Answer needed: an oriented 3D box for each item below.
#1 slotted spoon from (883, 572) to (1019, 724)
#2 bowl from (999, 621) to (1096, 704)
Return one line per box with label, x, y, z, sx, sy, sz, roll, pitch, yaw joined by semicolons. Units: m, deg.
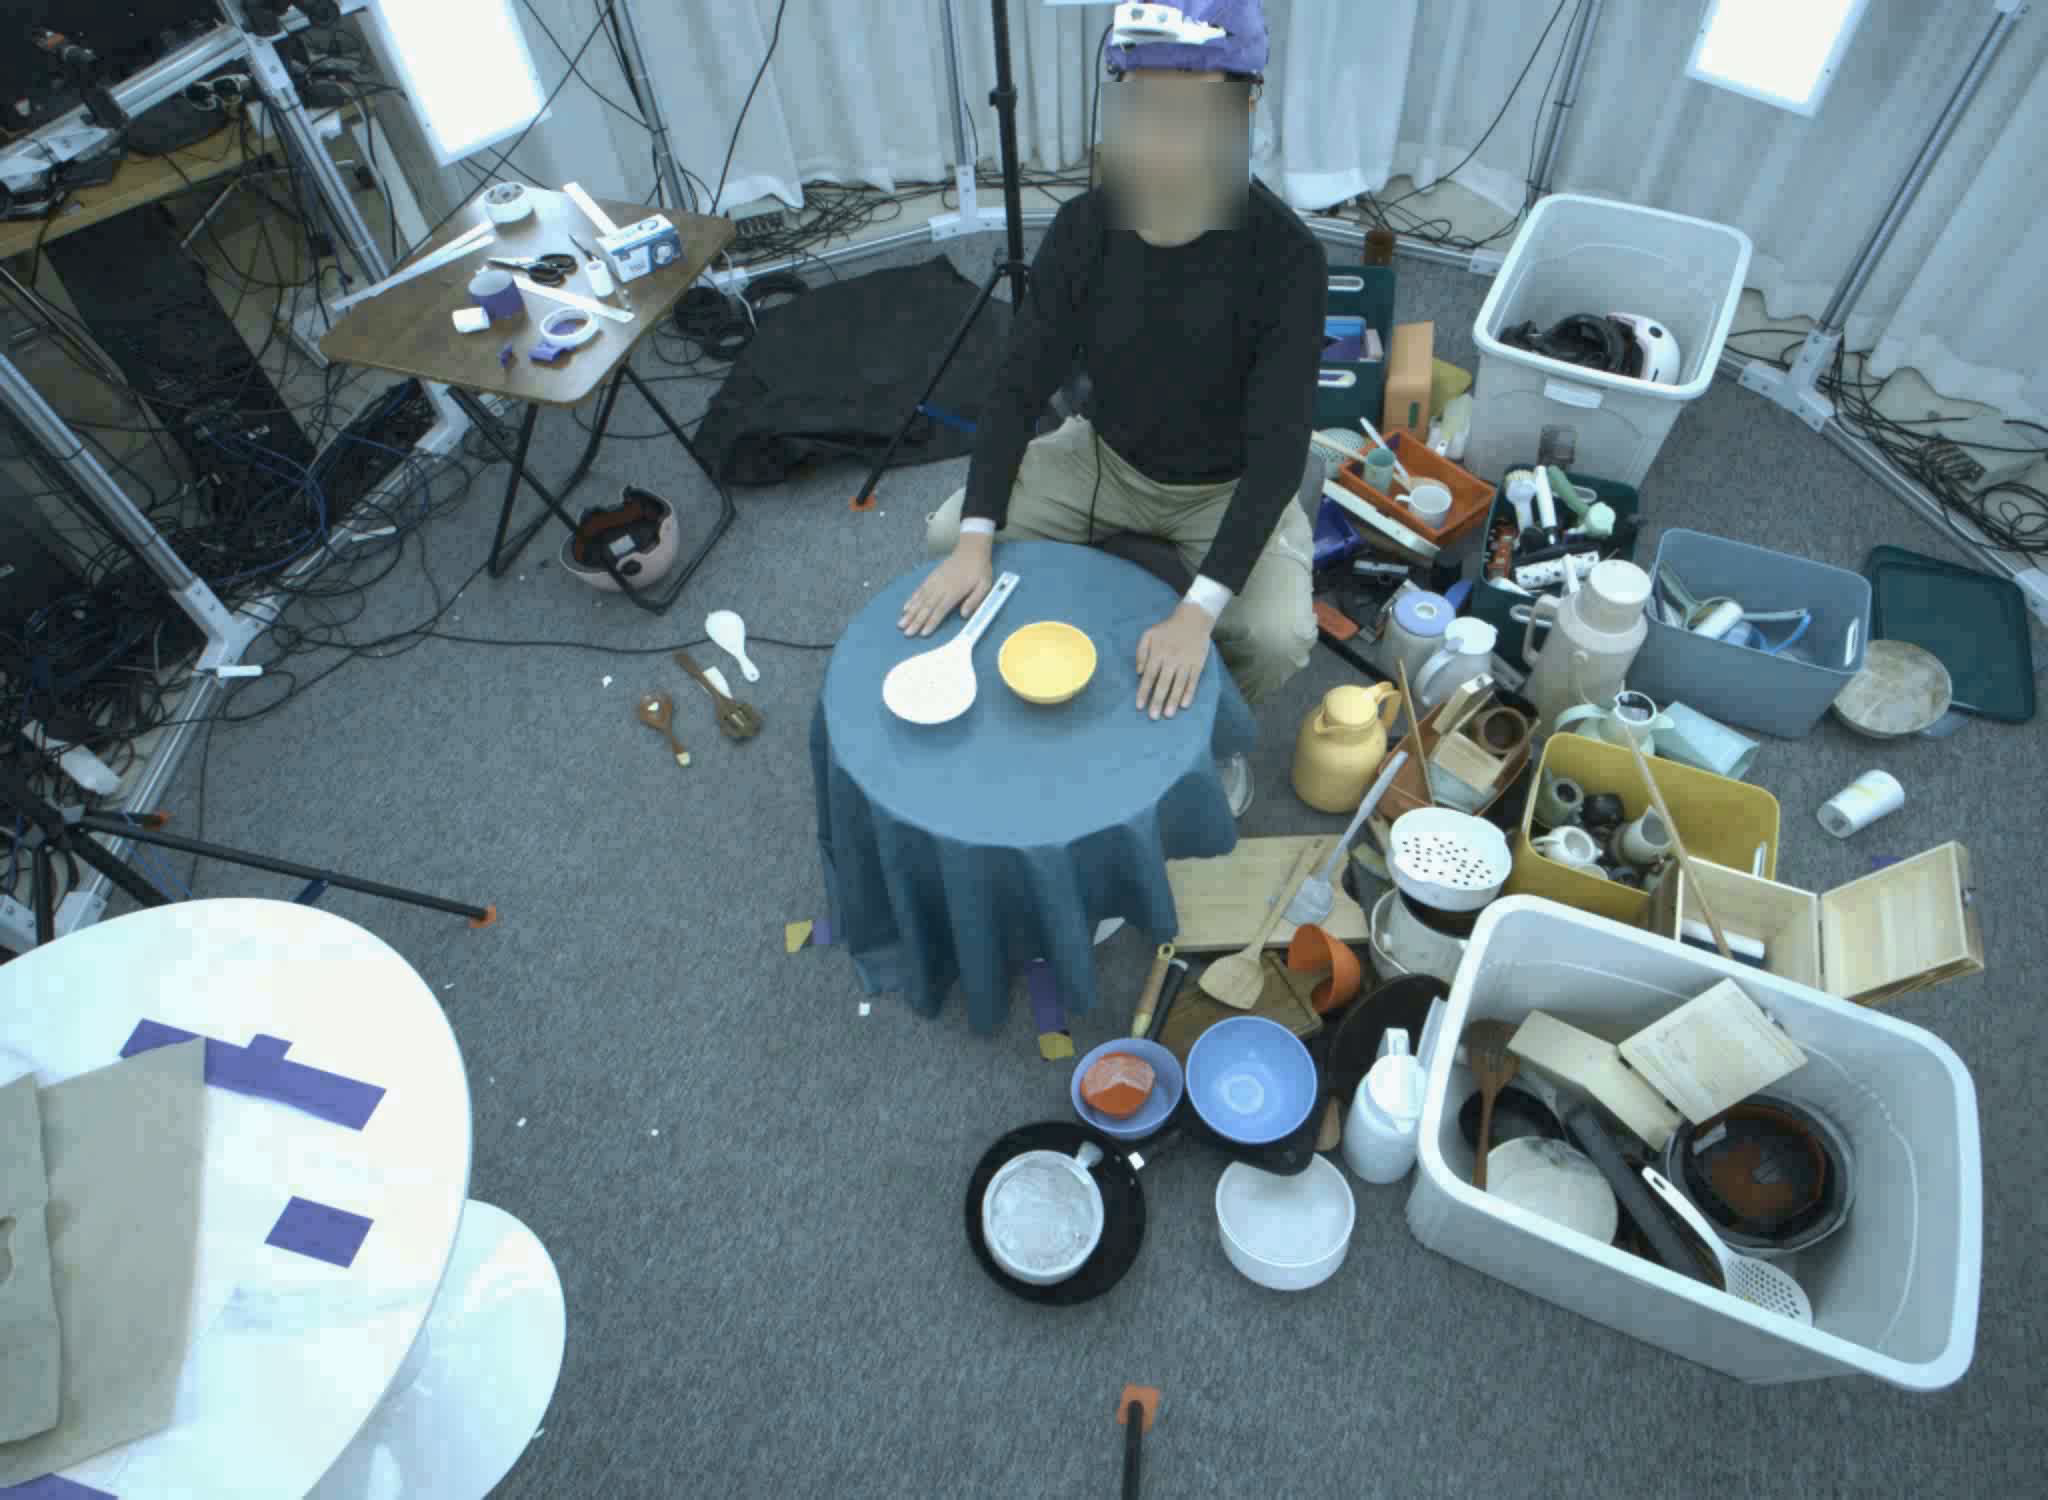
slotted spoon;-0.094;-0.161;1.876;0.134;0.046;0.350;20;57;14
bowl;0.035;-0.119;1.837;0.145;0.061;0.144;0;57;1
